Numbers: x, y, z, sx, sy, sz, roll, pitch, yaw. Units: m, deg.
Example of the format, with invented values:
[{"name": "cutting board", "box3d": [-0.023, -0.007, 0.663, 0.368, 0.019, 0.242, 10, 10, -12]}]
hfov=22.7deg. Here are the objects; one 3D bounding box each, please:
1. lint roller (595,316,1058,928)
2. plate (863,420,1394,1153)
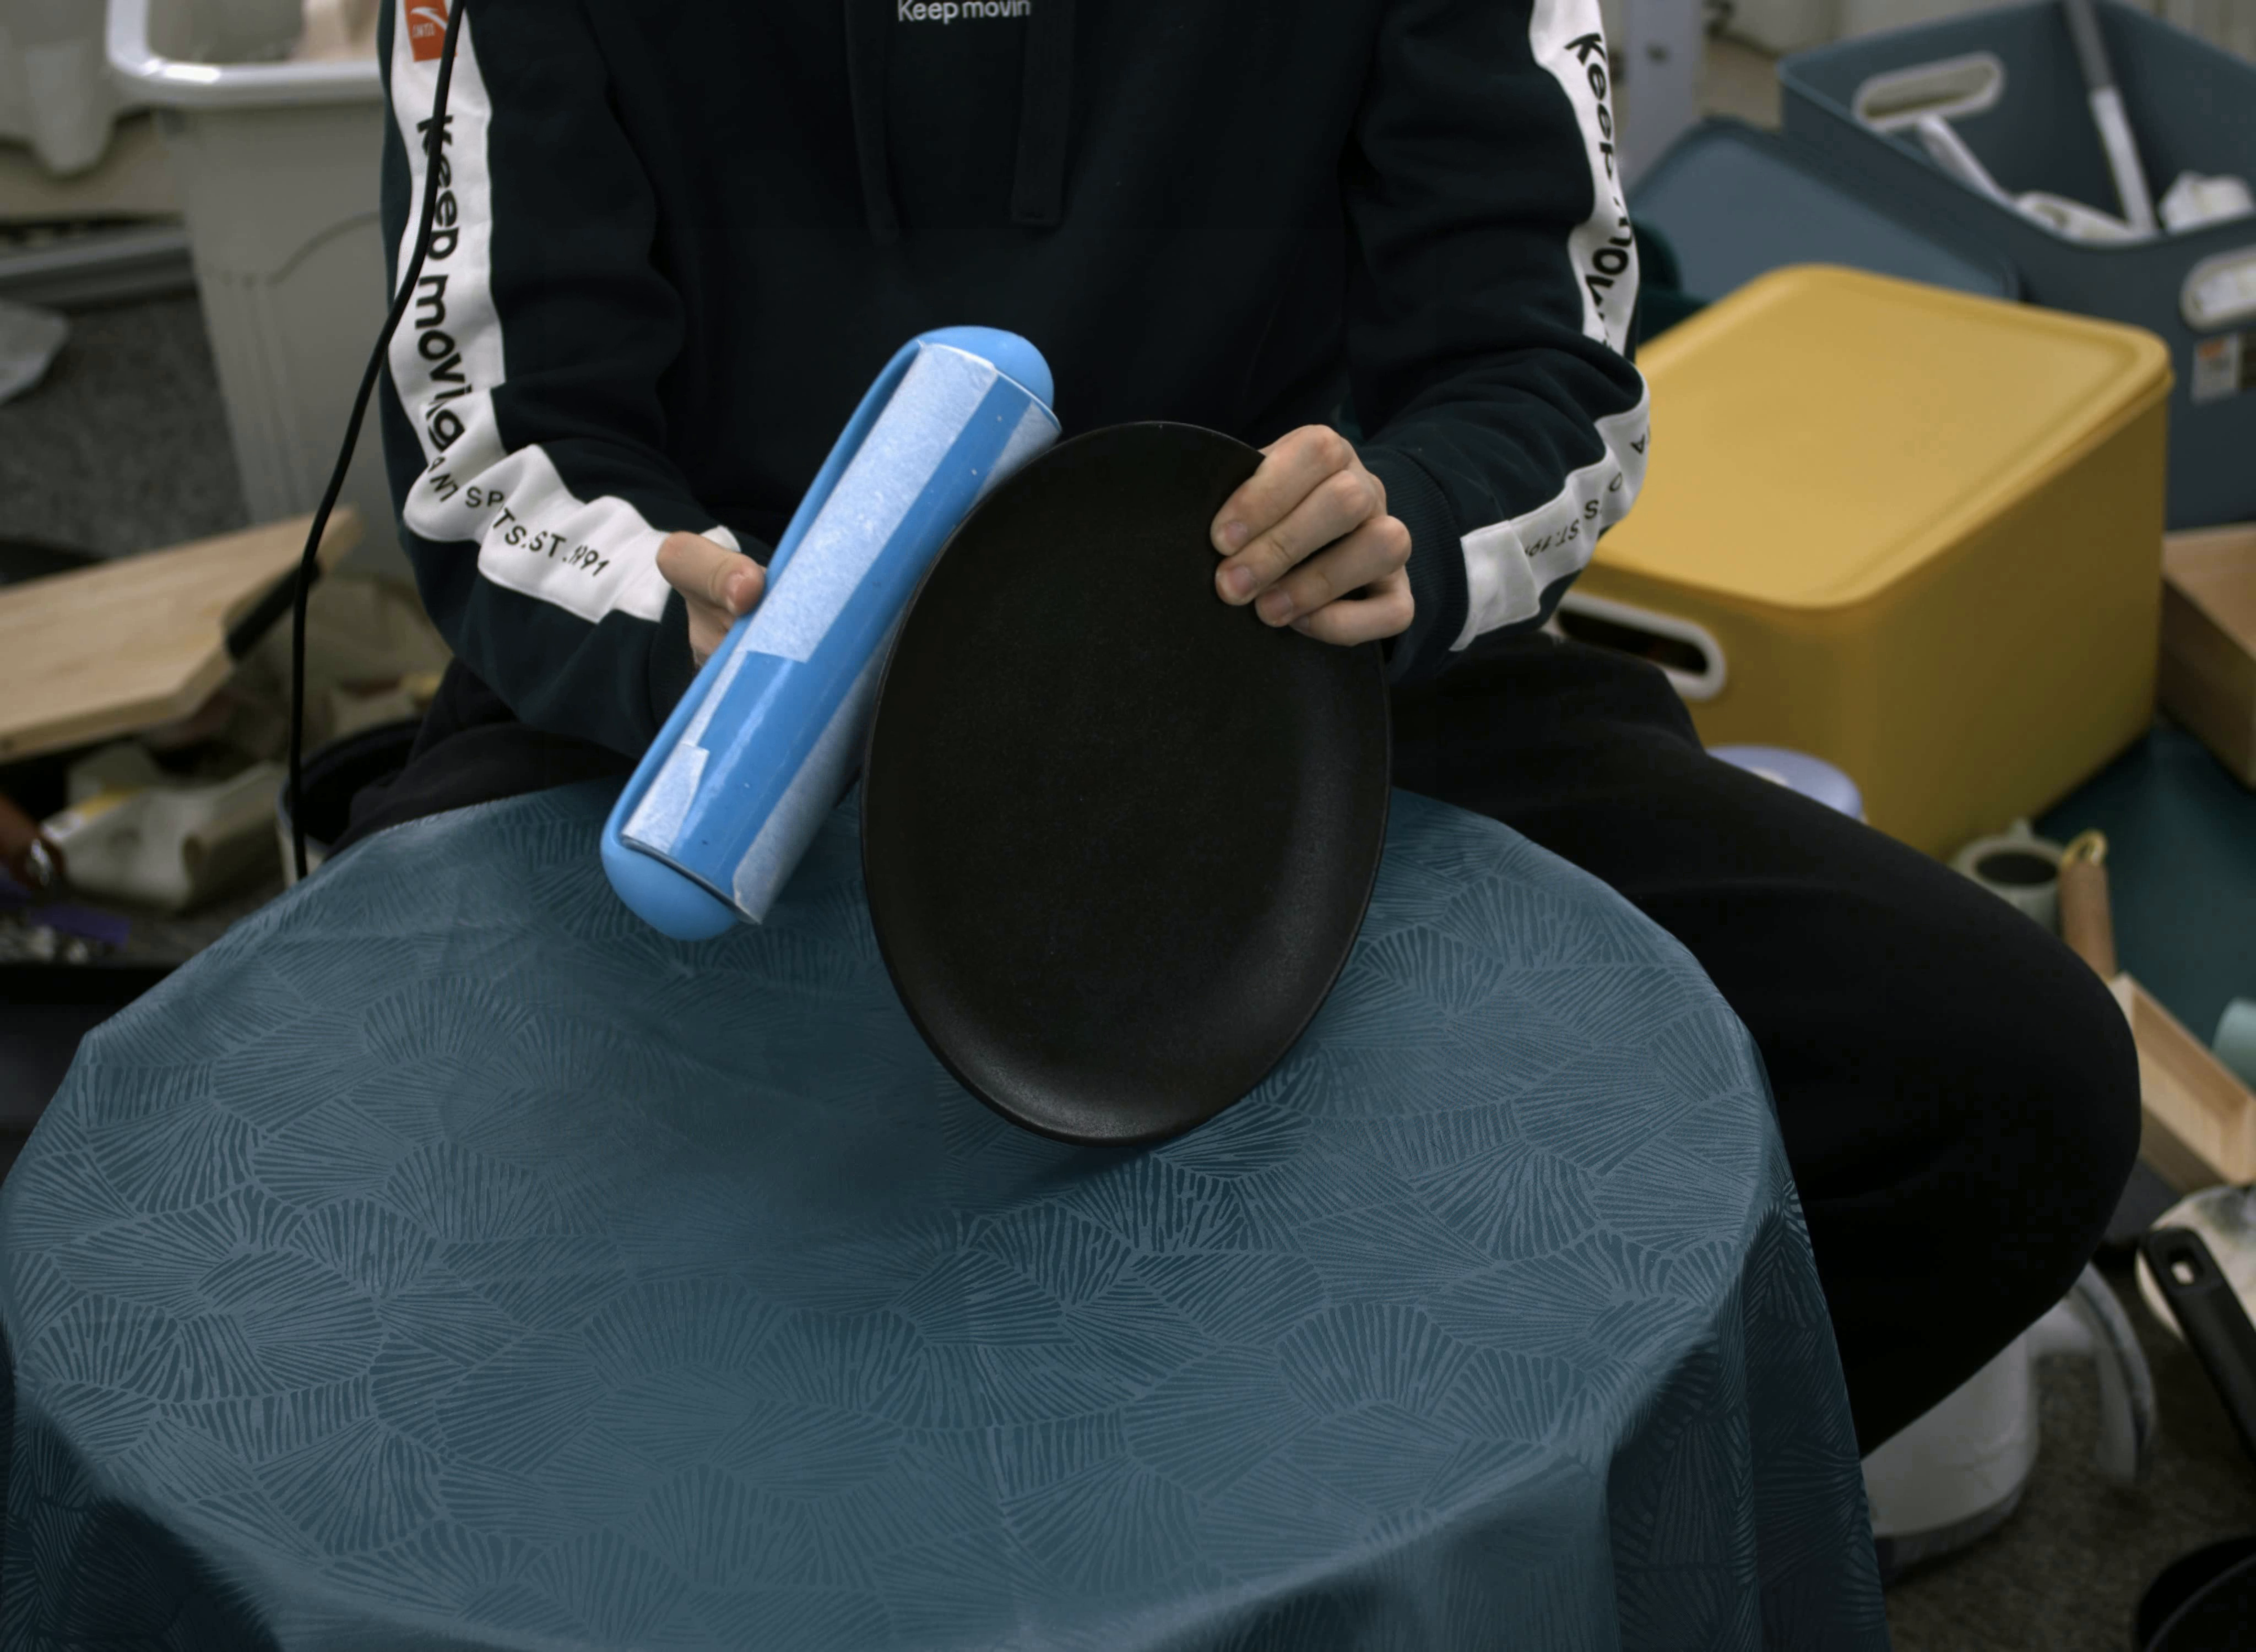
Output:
[{"name": "lint roller", "box3d": [-0.102, -0.056, 1.878, 0.068, 0.231, 0.178, 30, -14, -1]}, {"name": "plate", "box3d": [-0.002, -0.014, 1.873, 0.023, 0.243, 0.247, 5, 24, 45]}]
